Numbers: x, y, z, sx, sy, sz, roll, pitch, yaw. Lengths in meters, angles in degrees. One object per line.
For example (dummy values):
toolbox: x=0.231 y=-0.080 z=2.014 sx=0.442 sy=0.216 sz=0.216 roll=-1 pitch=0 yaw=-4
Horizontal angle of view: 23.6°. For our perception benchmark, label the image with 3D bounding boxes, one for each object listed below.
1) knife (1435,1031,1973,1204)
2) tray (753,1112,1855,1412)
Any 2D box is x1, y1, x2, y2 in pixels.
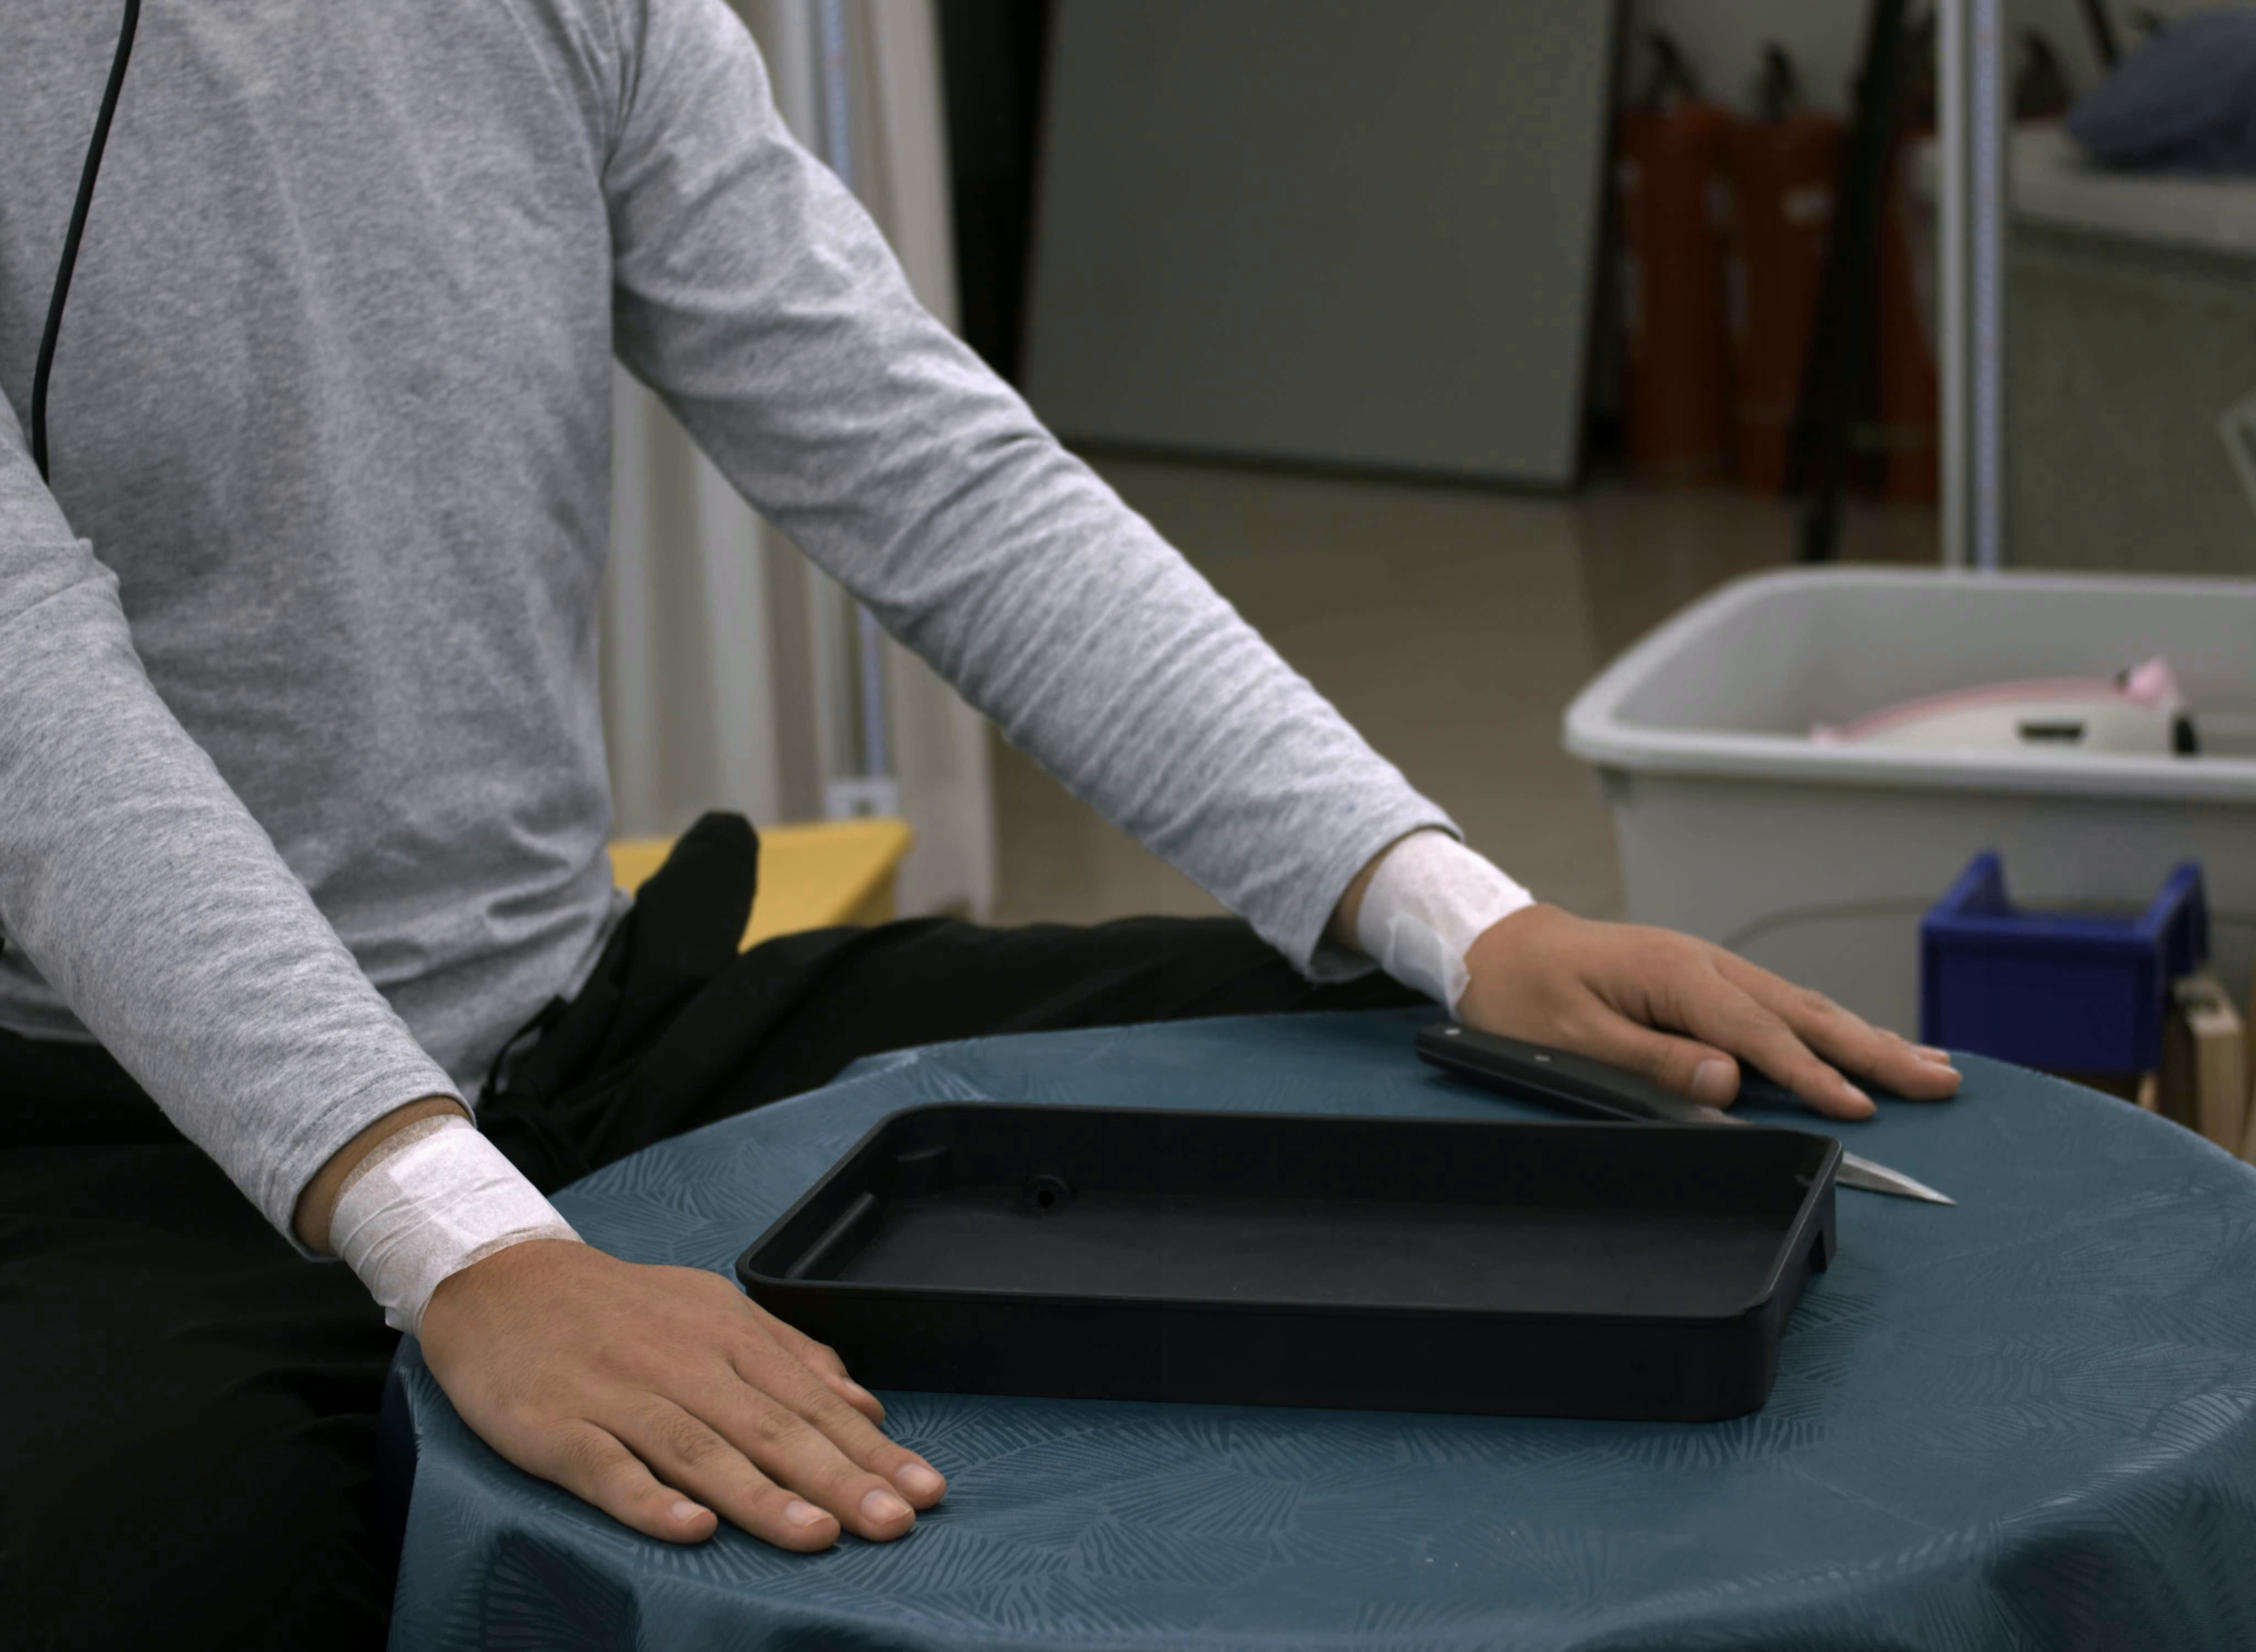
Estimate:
knife: x=0.186 y=0.099 z=1.789 sx=0.024 sy=0.016 sz=0.240 roll=-17 pitch=21 yaw=-38
tray: x=0.058 y=0.130 z=1.644 sx=0.317 sy=0.037 sz=0.183 roll=-1 pitch=13 yaw=16
